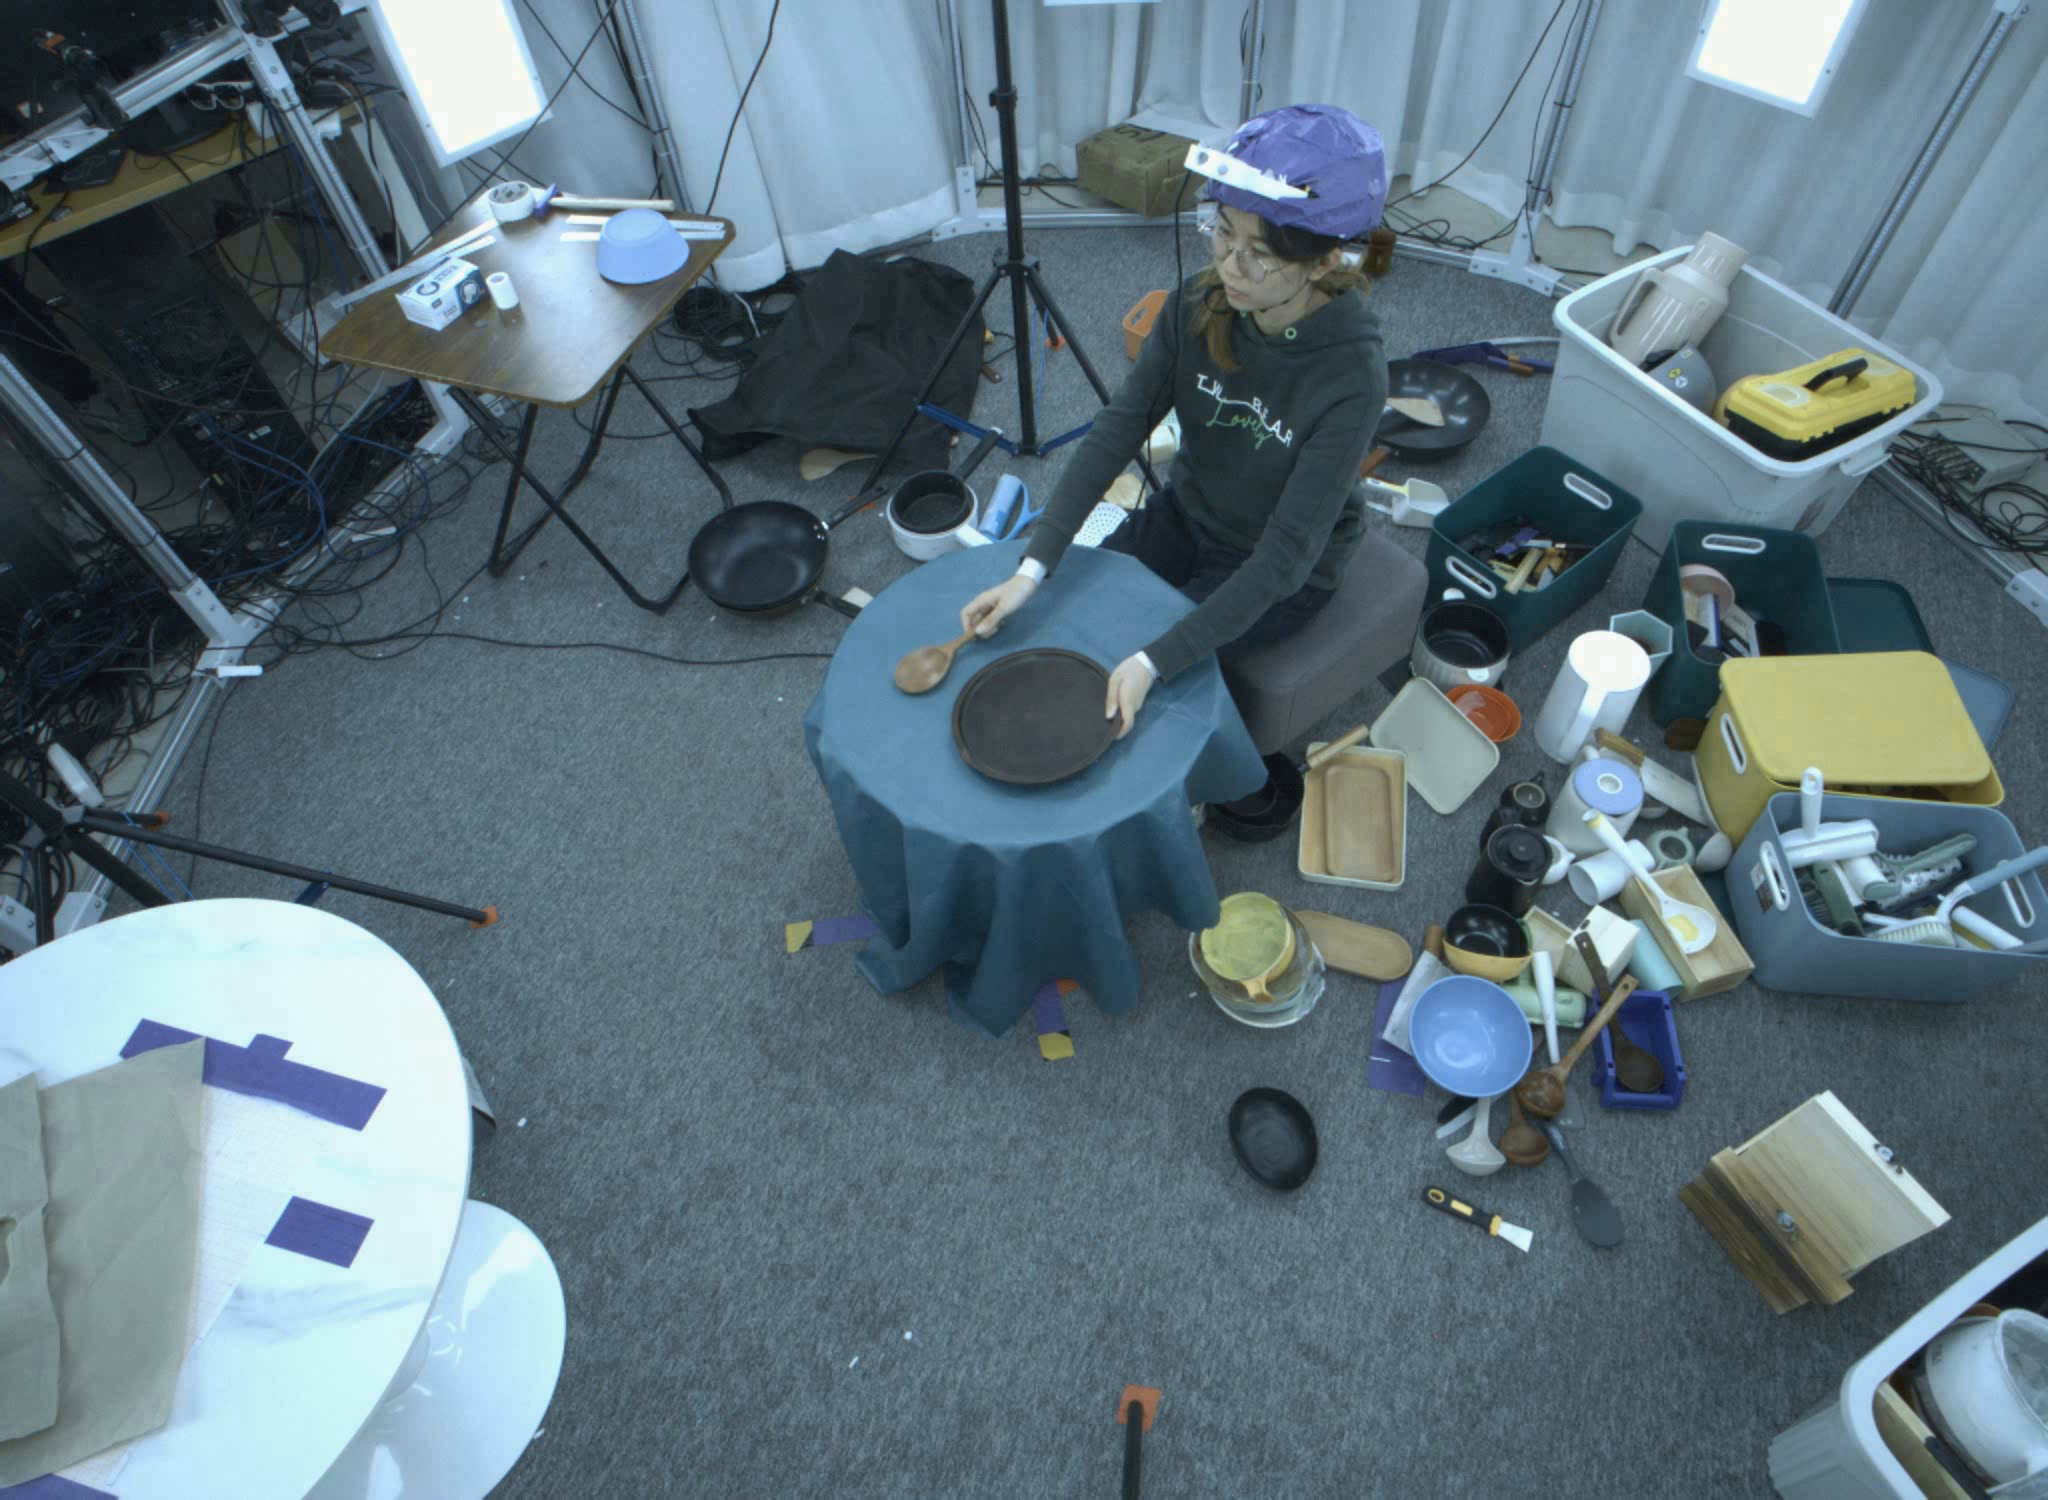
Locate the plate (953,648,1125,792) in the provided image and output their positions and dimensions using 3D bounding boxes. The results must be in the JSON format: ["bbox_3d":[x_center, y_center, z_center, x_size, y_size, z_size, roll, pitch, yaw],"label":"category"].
[{"bbox_3d":[0.022,-0.044,1.803,0.254,0.029,0.252,-3,56,6],"label":"plate"}]

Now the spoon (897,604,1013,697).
[{"bbox_3d":[-0.103,-0.155,1.885,0.217,0.017,0.074,-39,64,-13],"label":"spoon"}]
